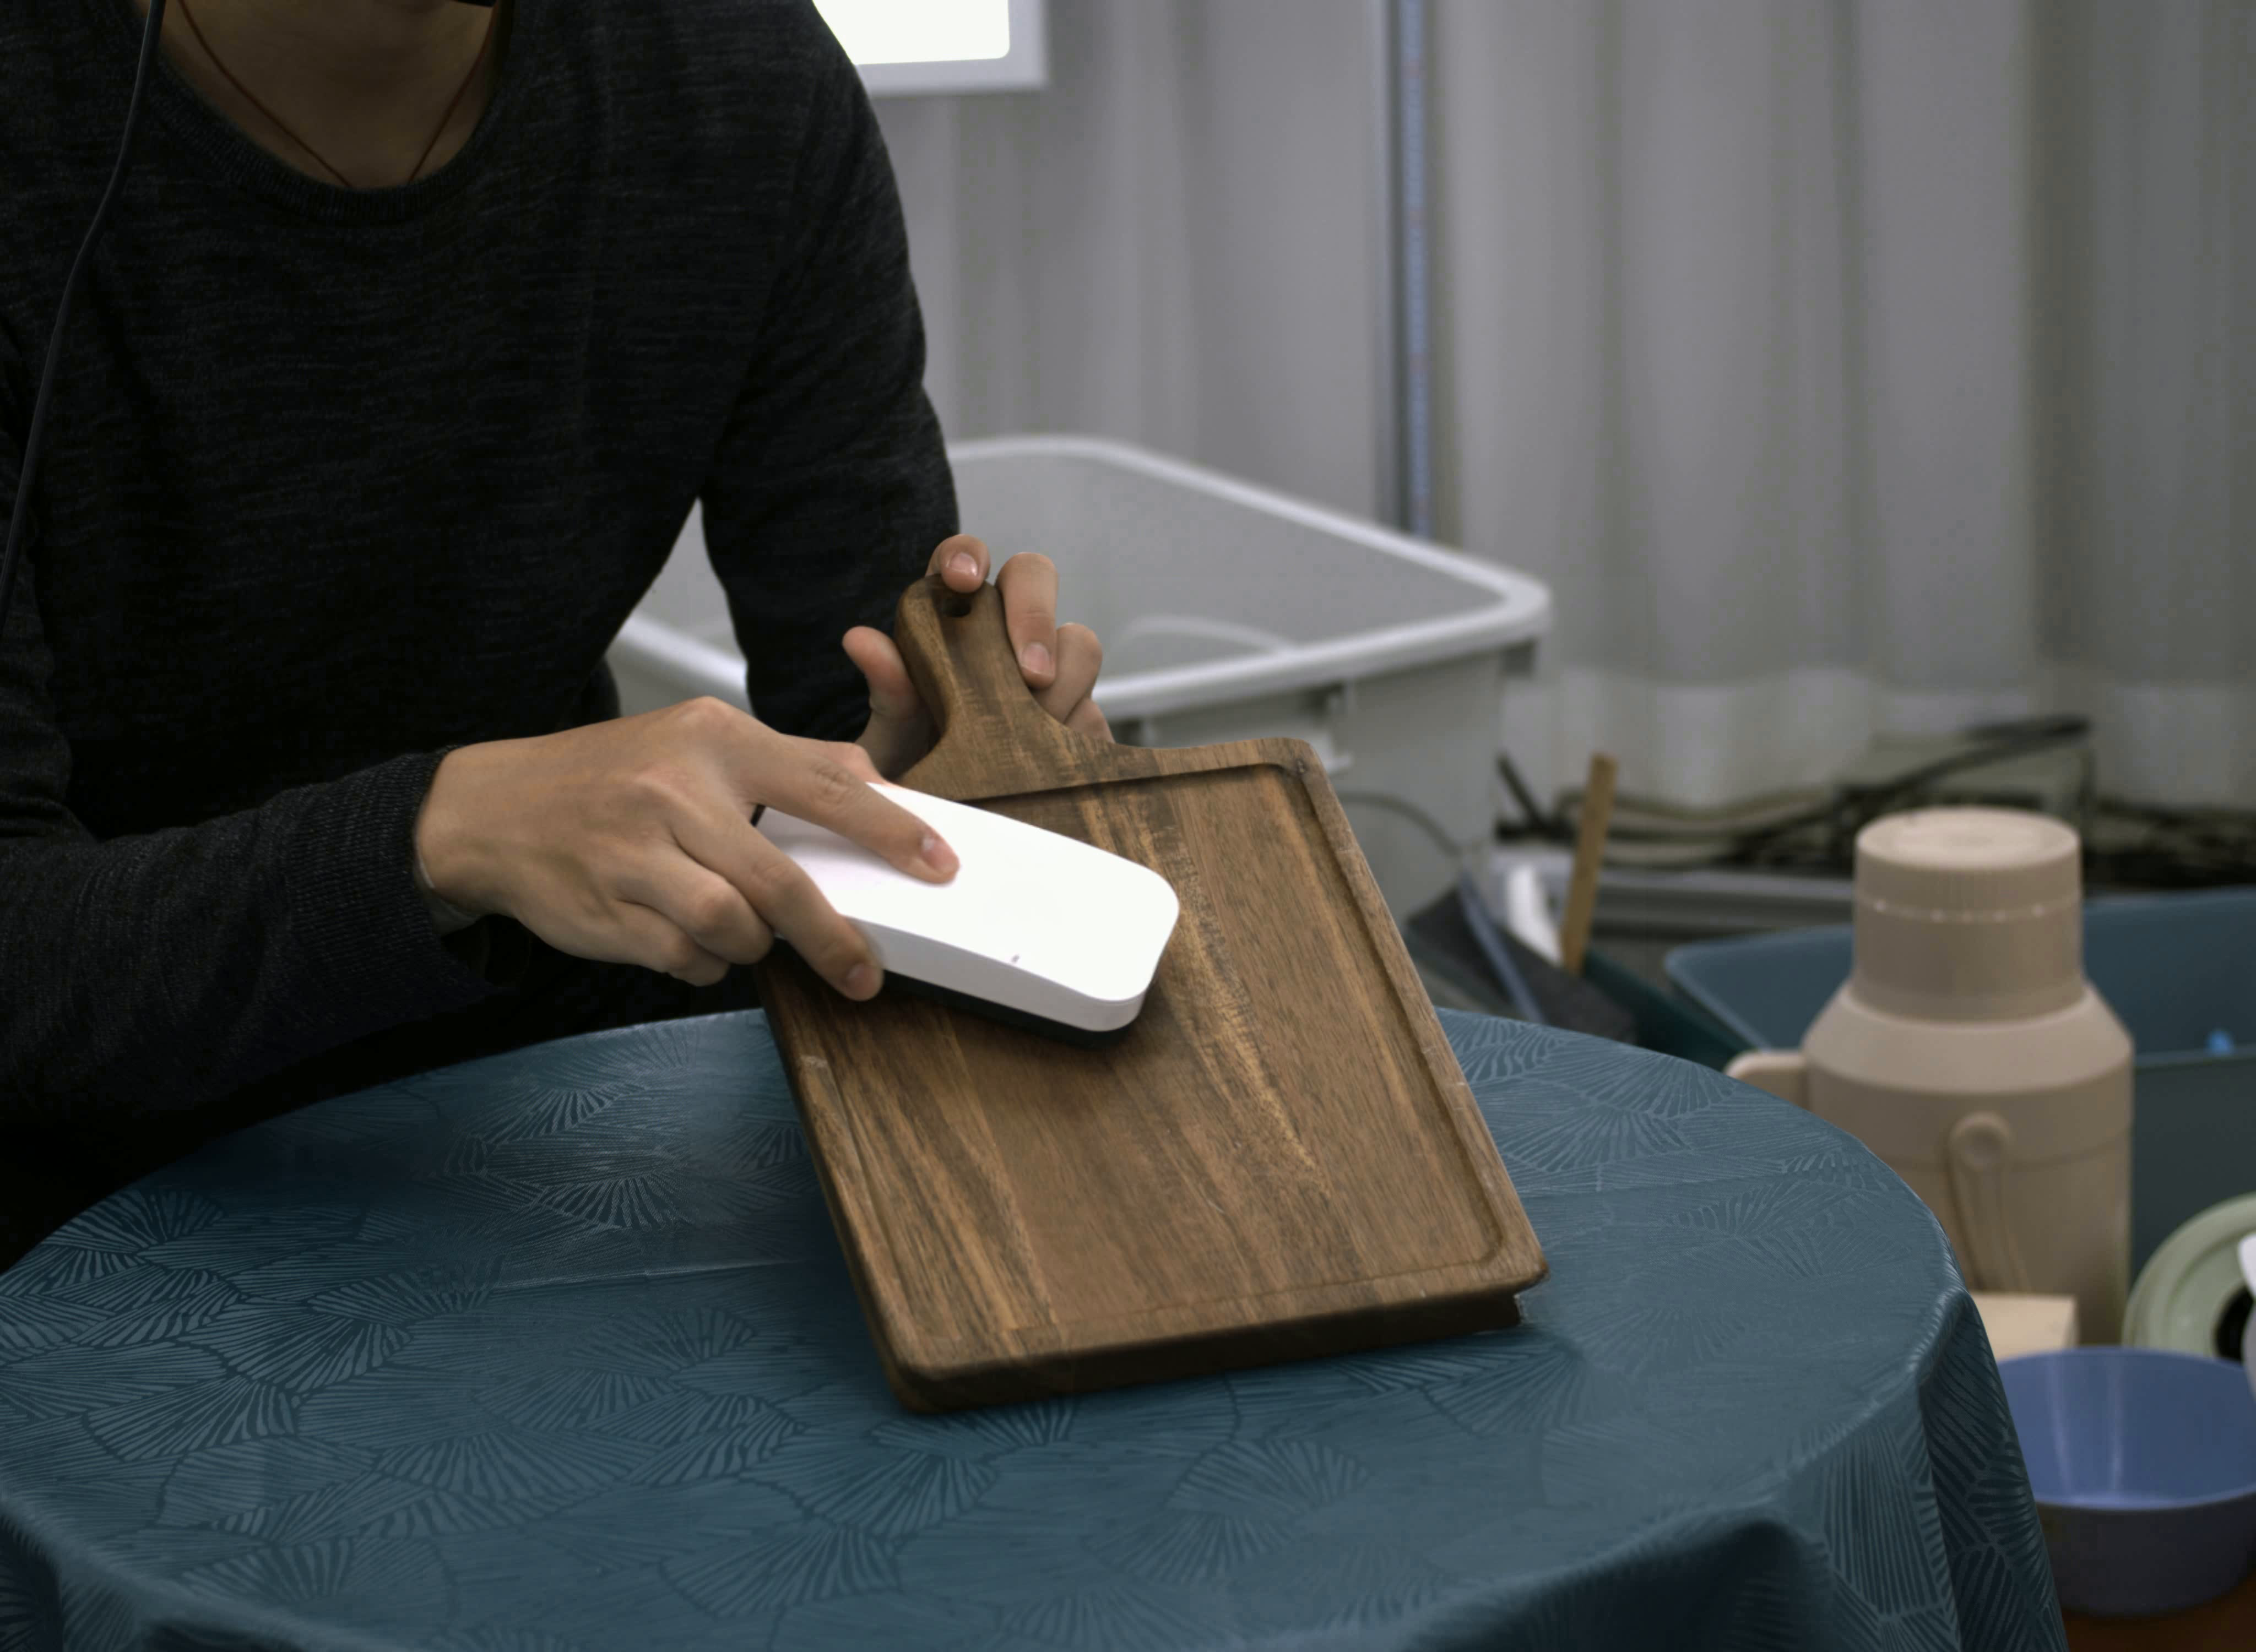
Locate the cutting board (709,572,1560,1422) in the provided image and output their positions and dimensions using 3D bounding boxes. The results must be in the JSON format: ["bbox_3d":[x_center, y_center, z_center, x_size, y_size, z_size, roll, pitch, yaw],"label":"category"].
[{"bbox_3d":[-0.016,0.037,1.675,0.200,0.023,0.358,-7,42,-15],"label":"cutting board"}]

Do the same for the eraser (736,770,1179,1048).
[{"bbox_3d":[-0.052,0.022,1.654,0.131,0.034,0.064,18,42,8],"label":"eraser"}]
